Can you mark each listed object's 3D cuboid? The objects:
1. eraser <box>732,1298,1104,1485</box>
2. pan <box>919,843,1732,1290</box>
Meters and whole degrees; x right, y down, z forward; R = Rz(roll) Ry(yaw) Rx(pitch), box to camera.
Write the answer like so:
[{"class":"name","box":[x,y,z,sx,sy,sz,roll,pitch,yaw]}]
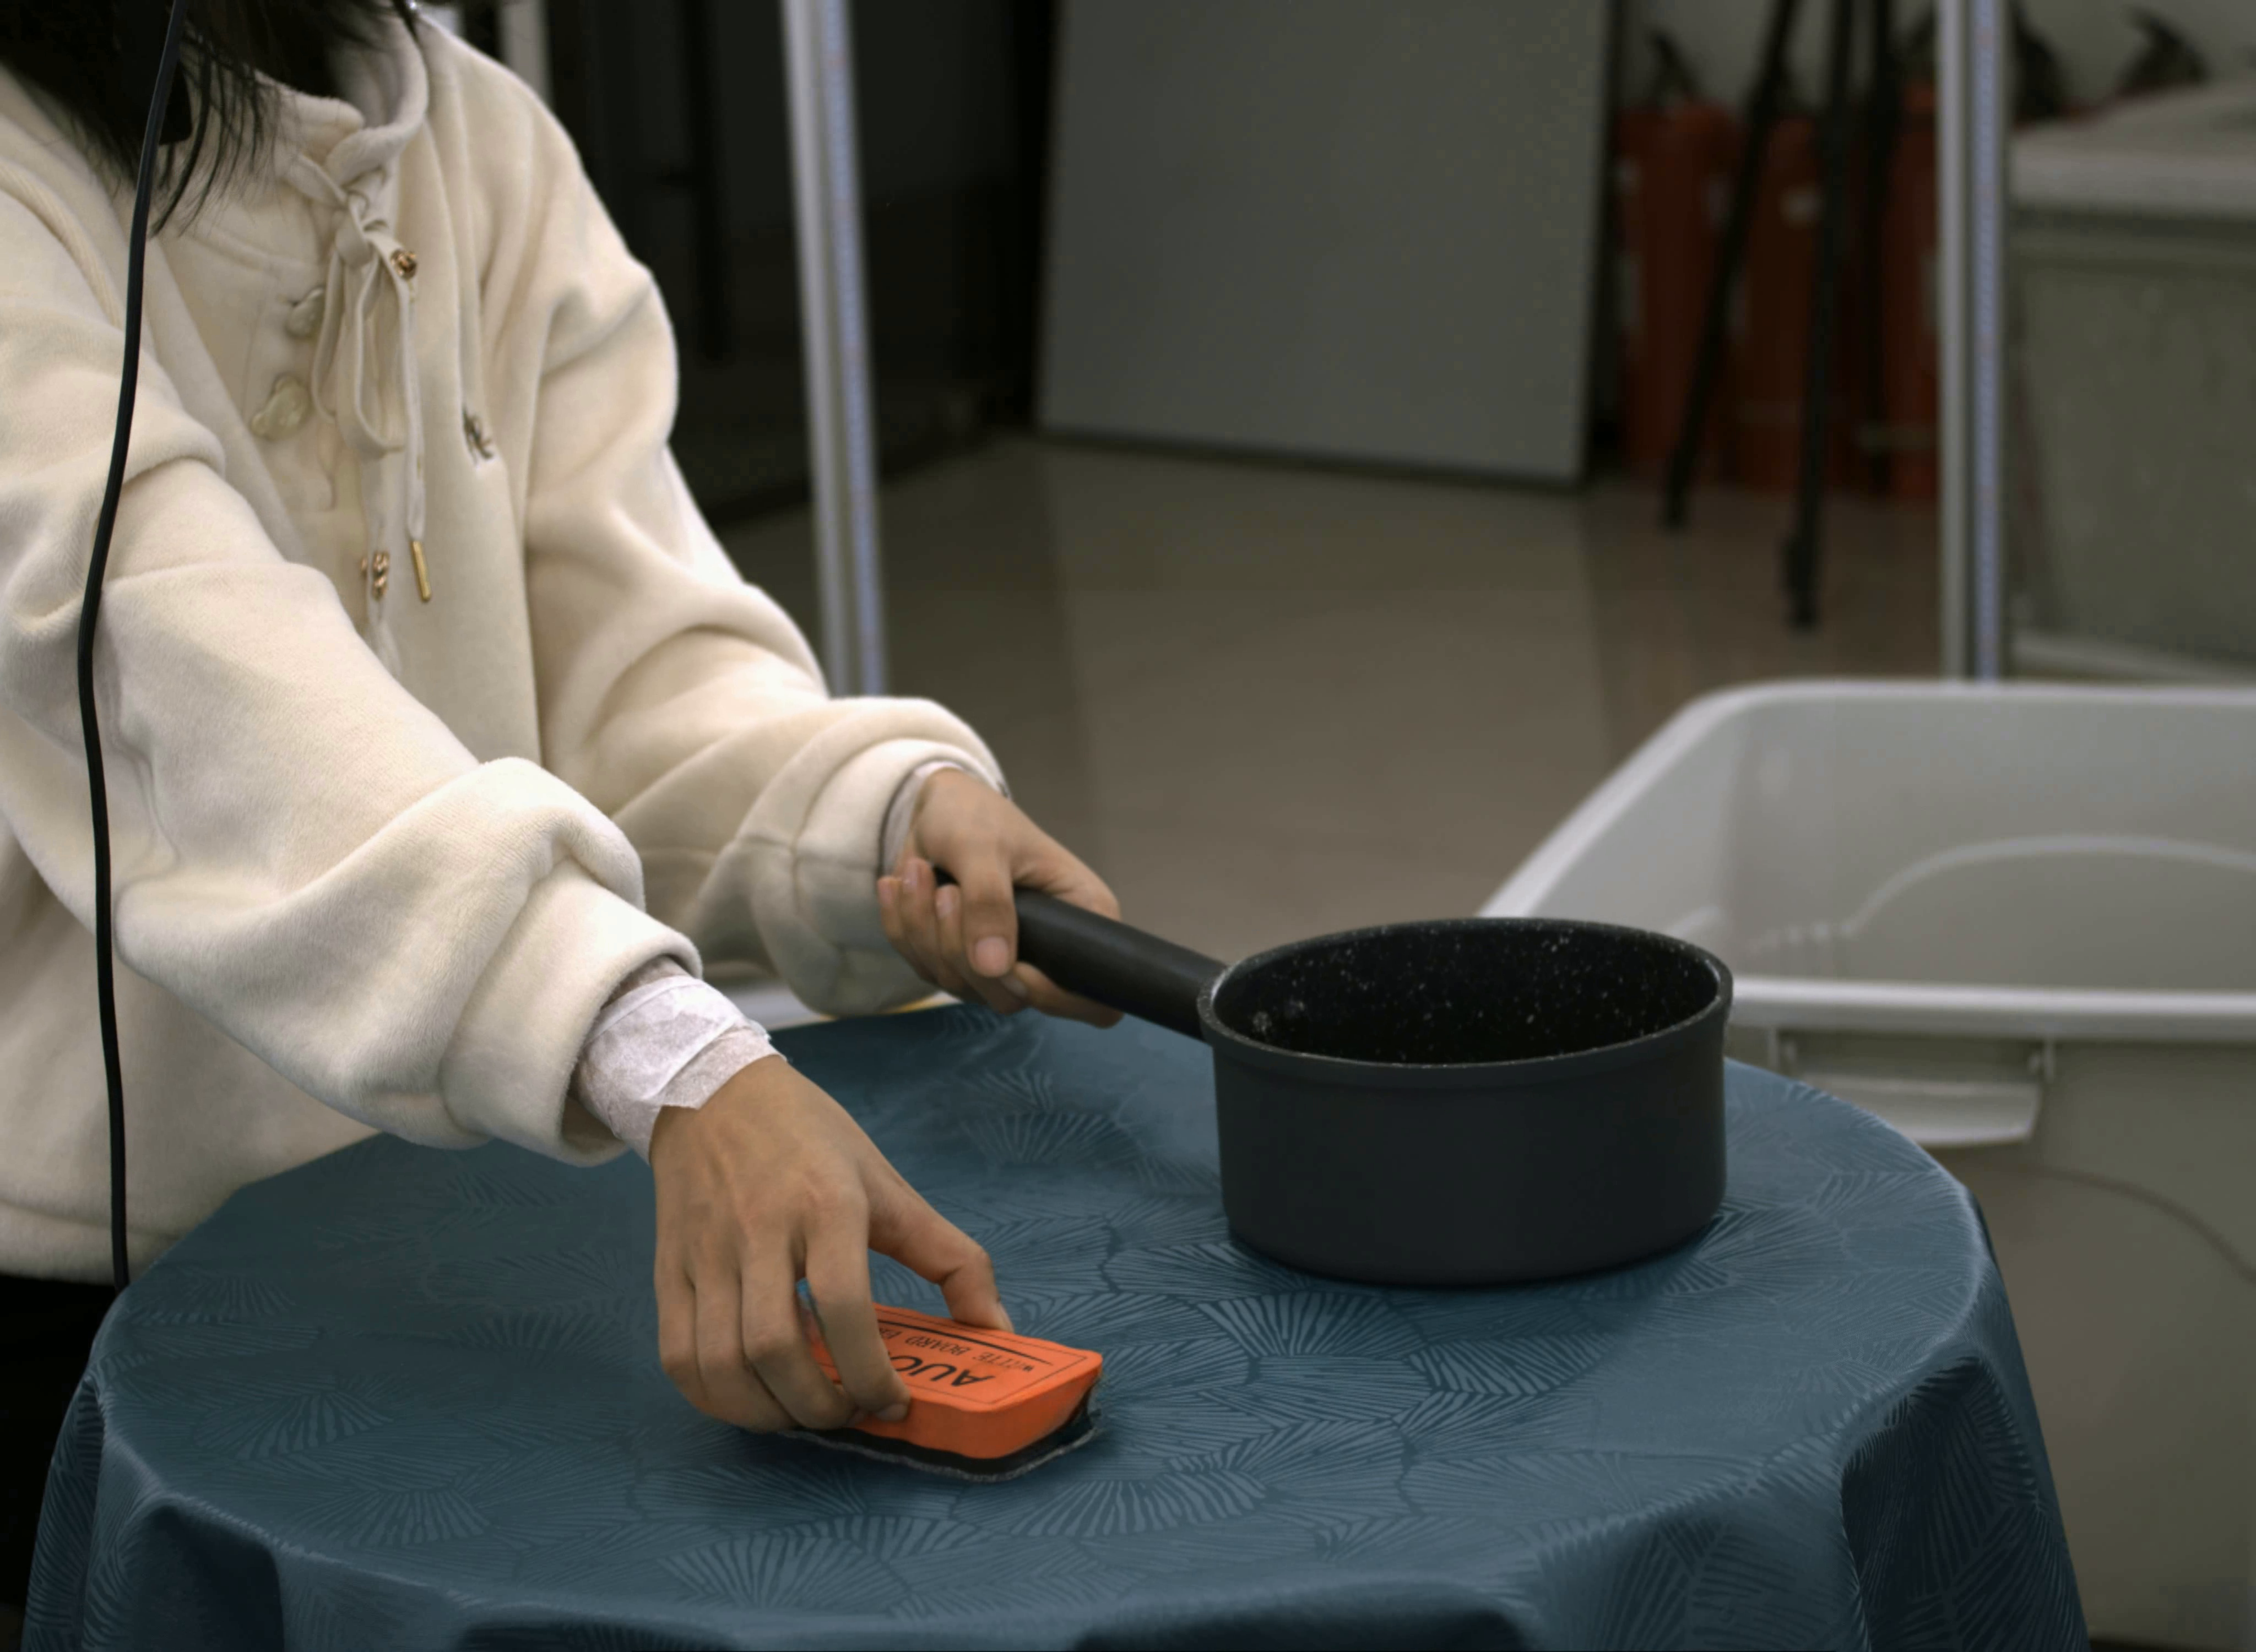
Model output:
[{"class":"eraser","box":[-0.061,0.163,1.567,0.109,0.023,0.058,9,19,42]},{"class":"pan","box":[0.053,0.073,1.771,0.168,0.087,0.332,-17,20,-42]}]
